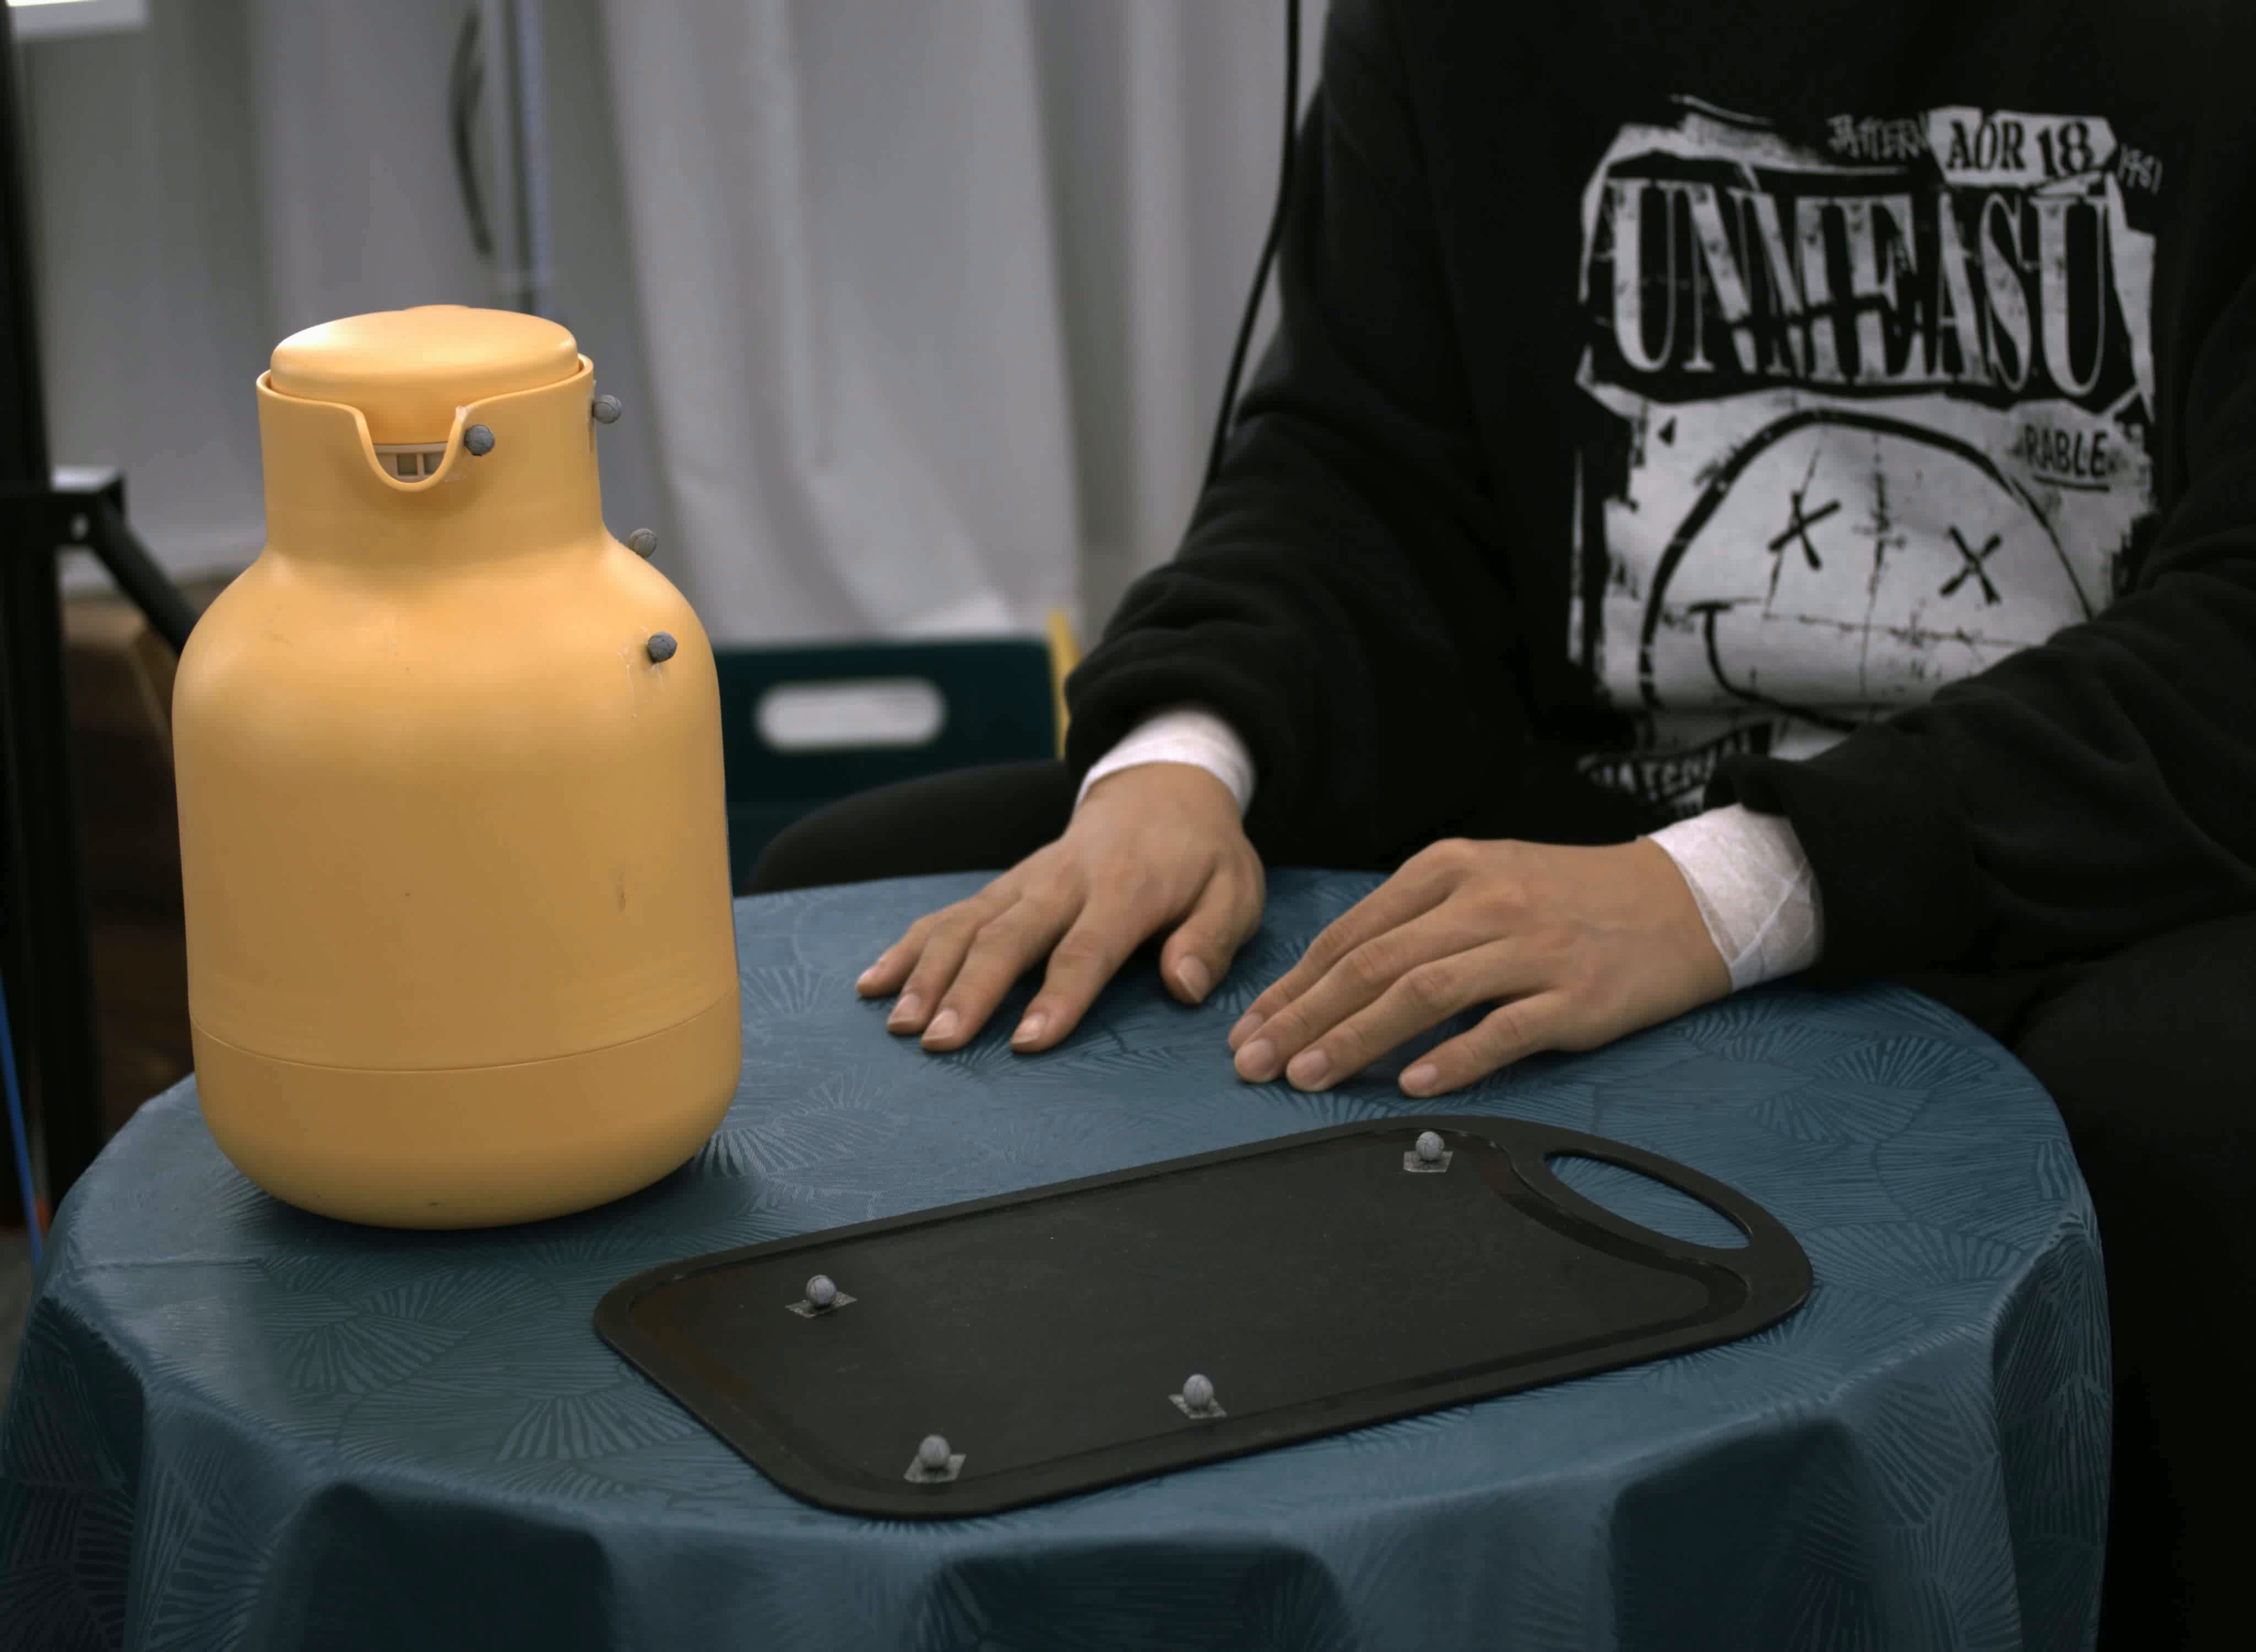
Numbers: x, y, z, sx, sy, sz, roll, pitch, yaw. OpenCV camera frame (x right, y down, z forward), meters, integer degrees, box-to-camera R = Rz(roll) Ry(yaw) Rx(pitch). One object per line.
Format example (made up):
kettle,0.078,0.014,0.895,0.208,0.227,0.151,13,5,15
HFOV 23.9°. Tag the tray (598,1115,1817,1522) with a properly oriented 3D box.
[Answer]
tray,0.028,0.128,1.466,0.319,0.010,0.215,-10,17,-23

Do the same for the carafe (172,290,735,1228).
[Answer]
carafe,-0.198,-0.028,1.590,0.163,0.260,0.203,0,16,0
